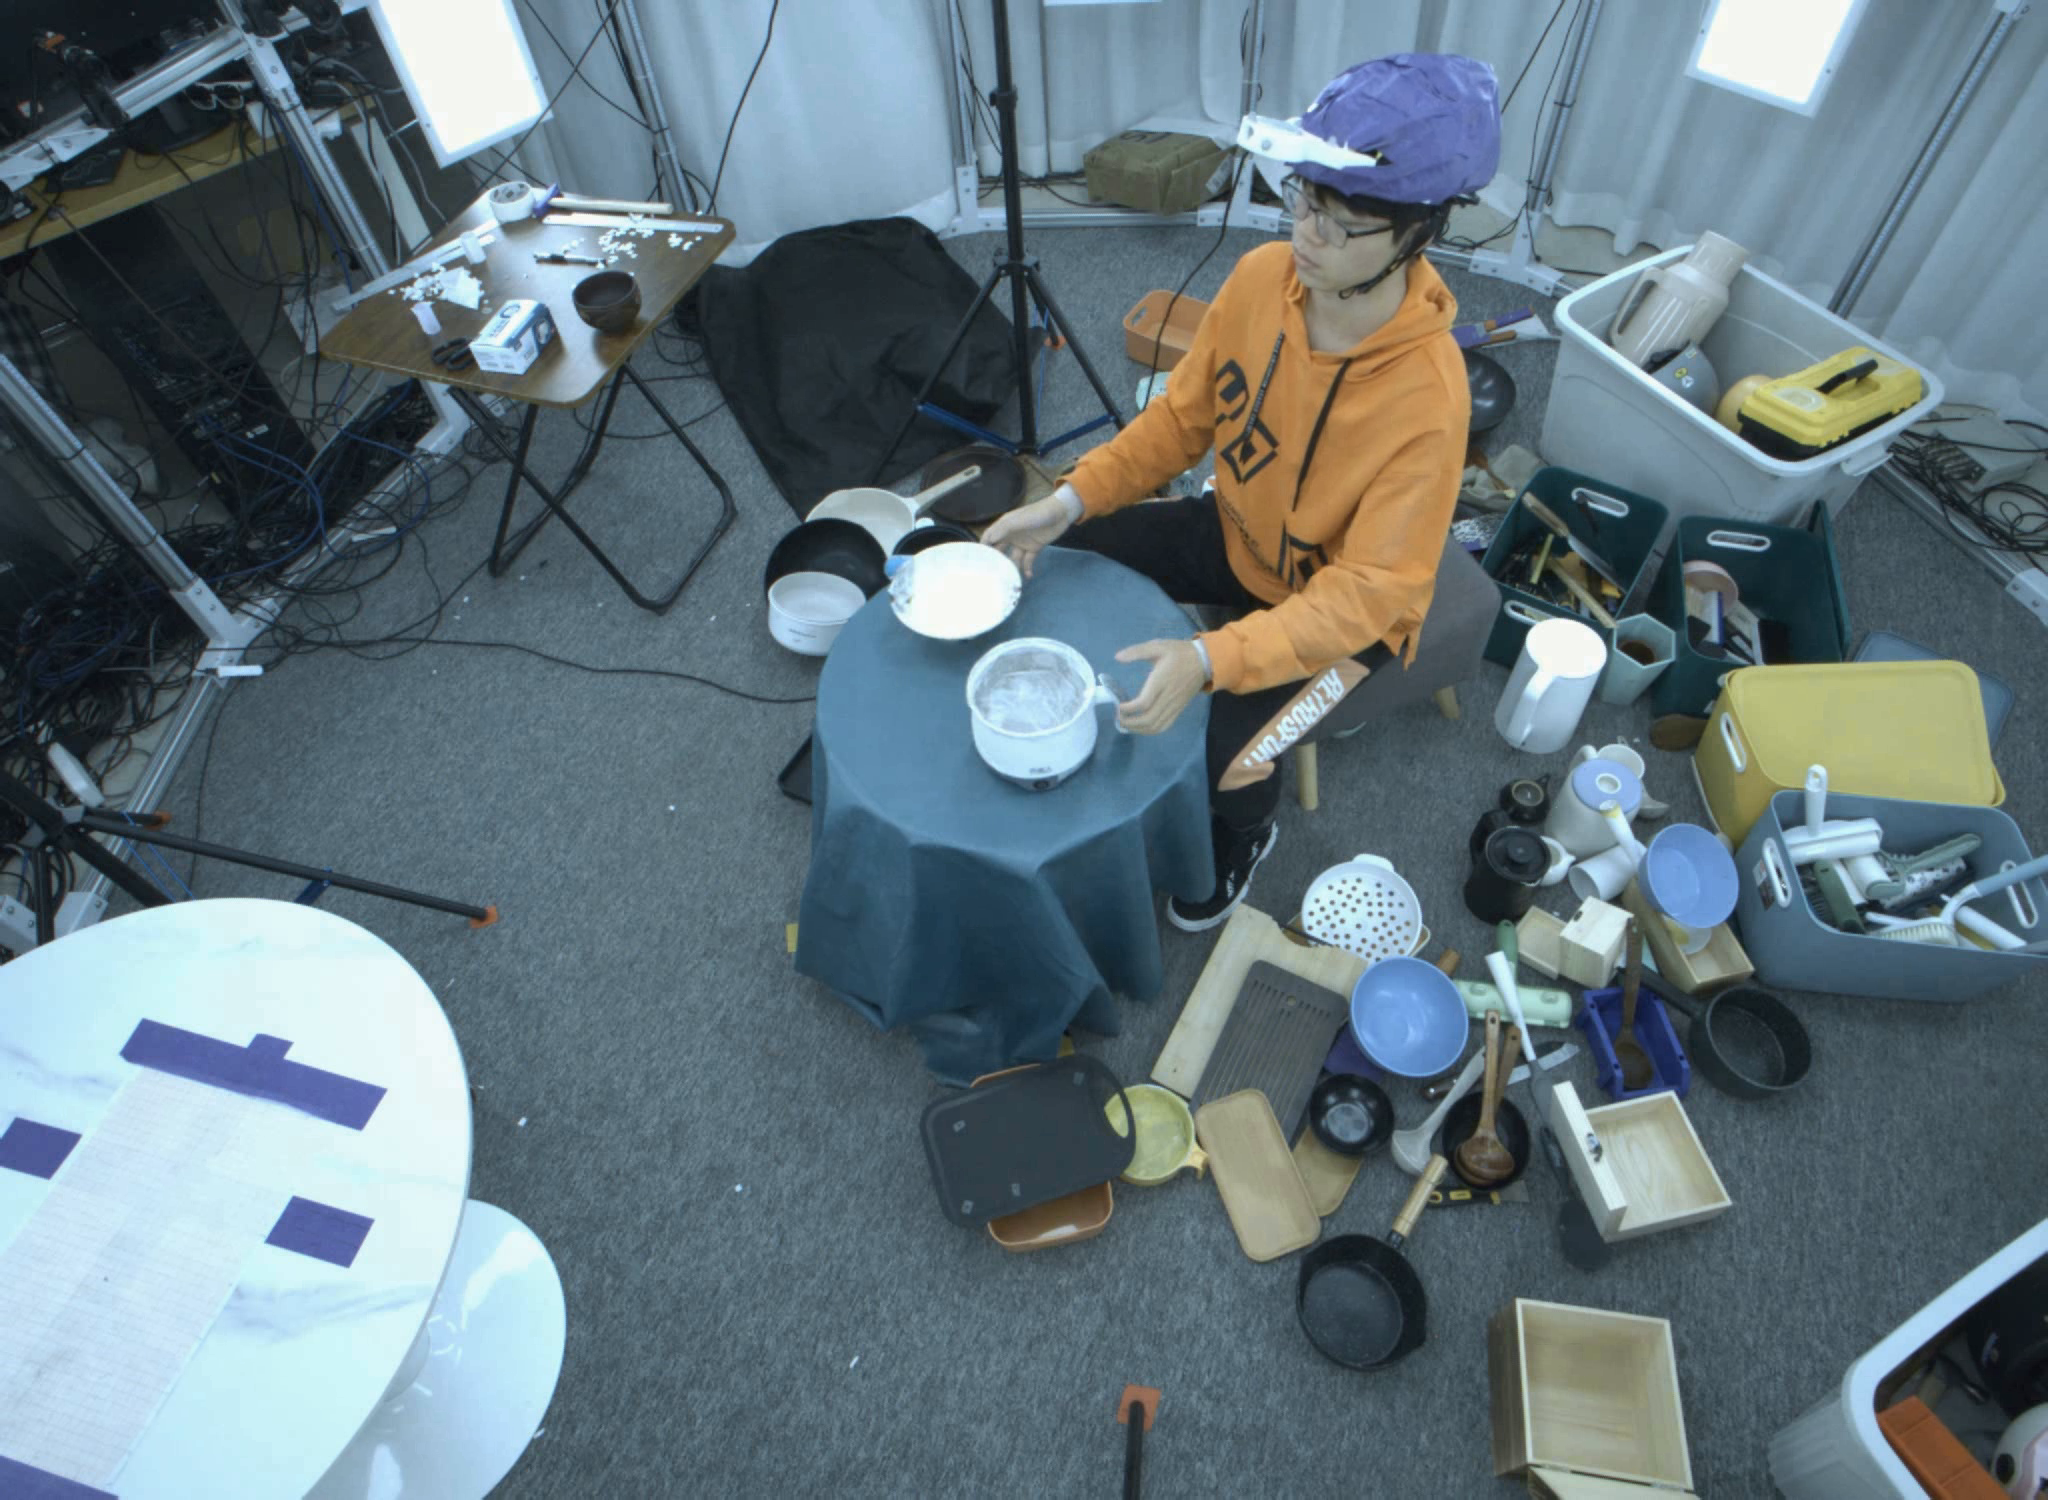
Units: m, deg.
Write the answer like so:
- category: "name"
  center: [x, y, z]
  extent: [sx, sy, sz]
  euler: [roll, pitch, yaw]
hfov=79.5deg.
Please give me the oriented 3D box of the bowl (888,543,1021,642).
- category: "bowl"
  center: [-0.107, -0.225, 1.905]
  extent: [0.204, 0.078, 0.202]
  euler: [1, 54, 0]

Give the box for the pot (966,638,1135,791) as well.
- category: "pot"
  center: [0.040, -0.054, 1.739]
  extent: [0.234, 0.138, 0.176]
  euler: [-8, 55, -2]
